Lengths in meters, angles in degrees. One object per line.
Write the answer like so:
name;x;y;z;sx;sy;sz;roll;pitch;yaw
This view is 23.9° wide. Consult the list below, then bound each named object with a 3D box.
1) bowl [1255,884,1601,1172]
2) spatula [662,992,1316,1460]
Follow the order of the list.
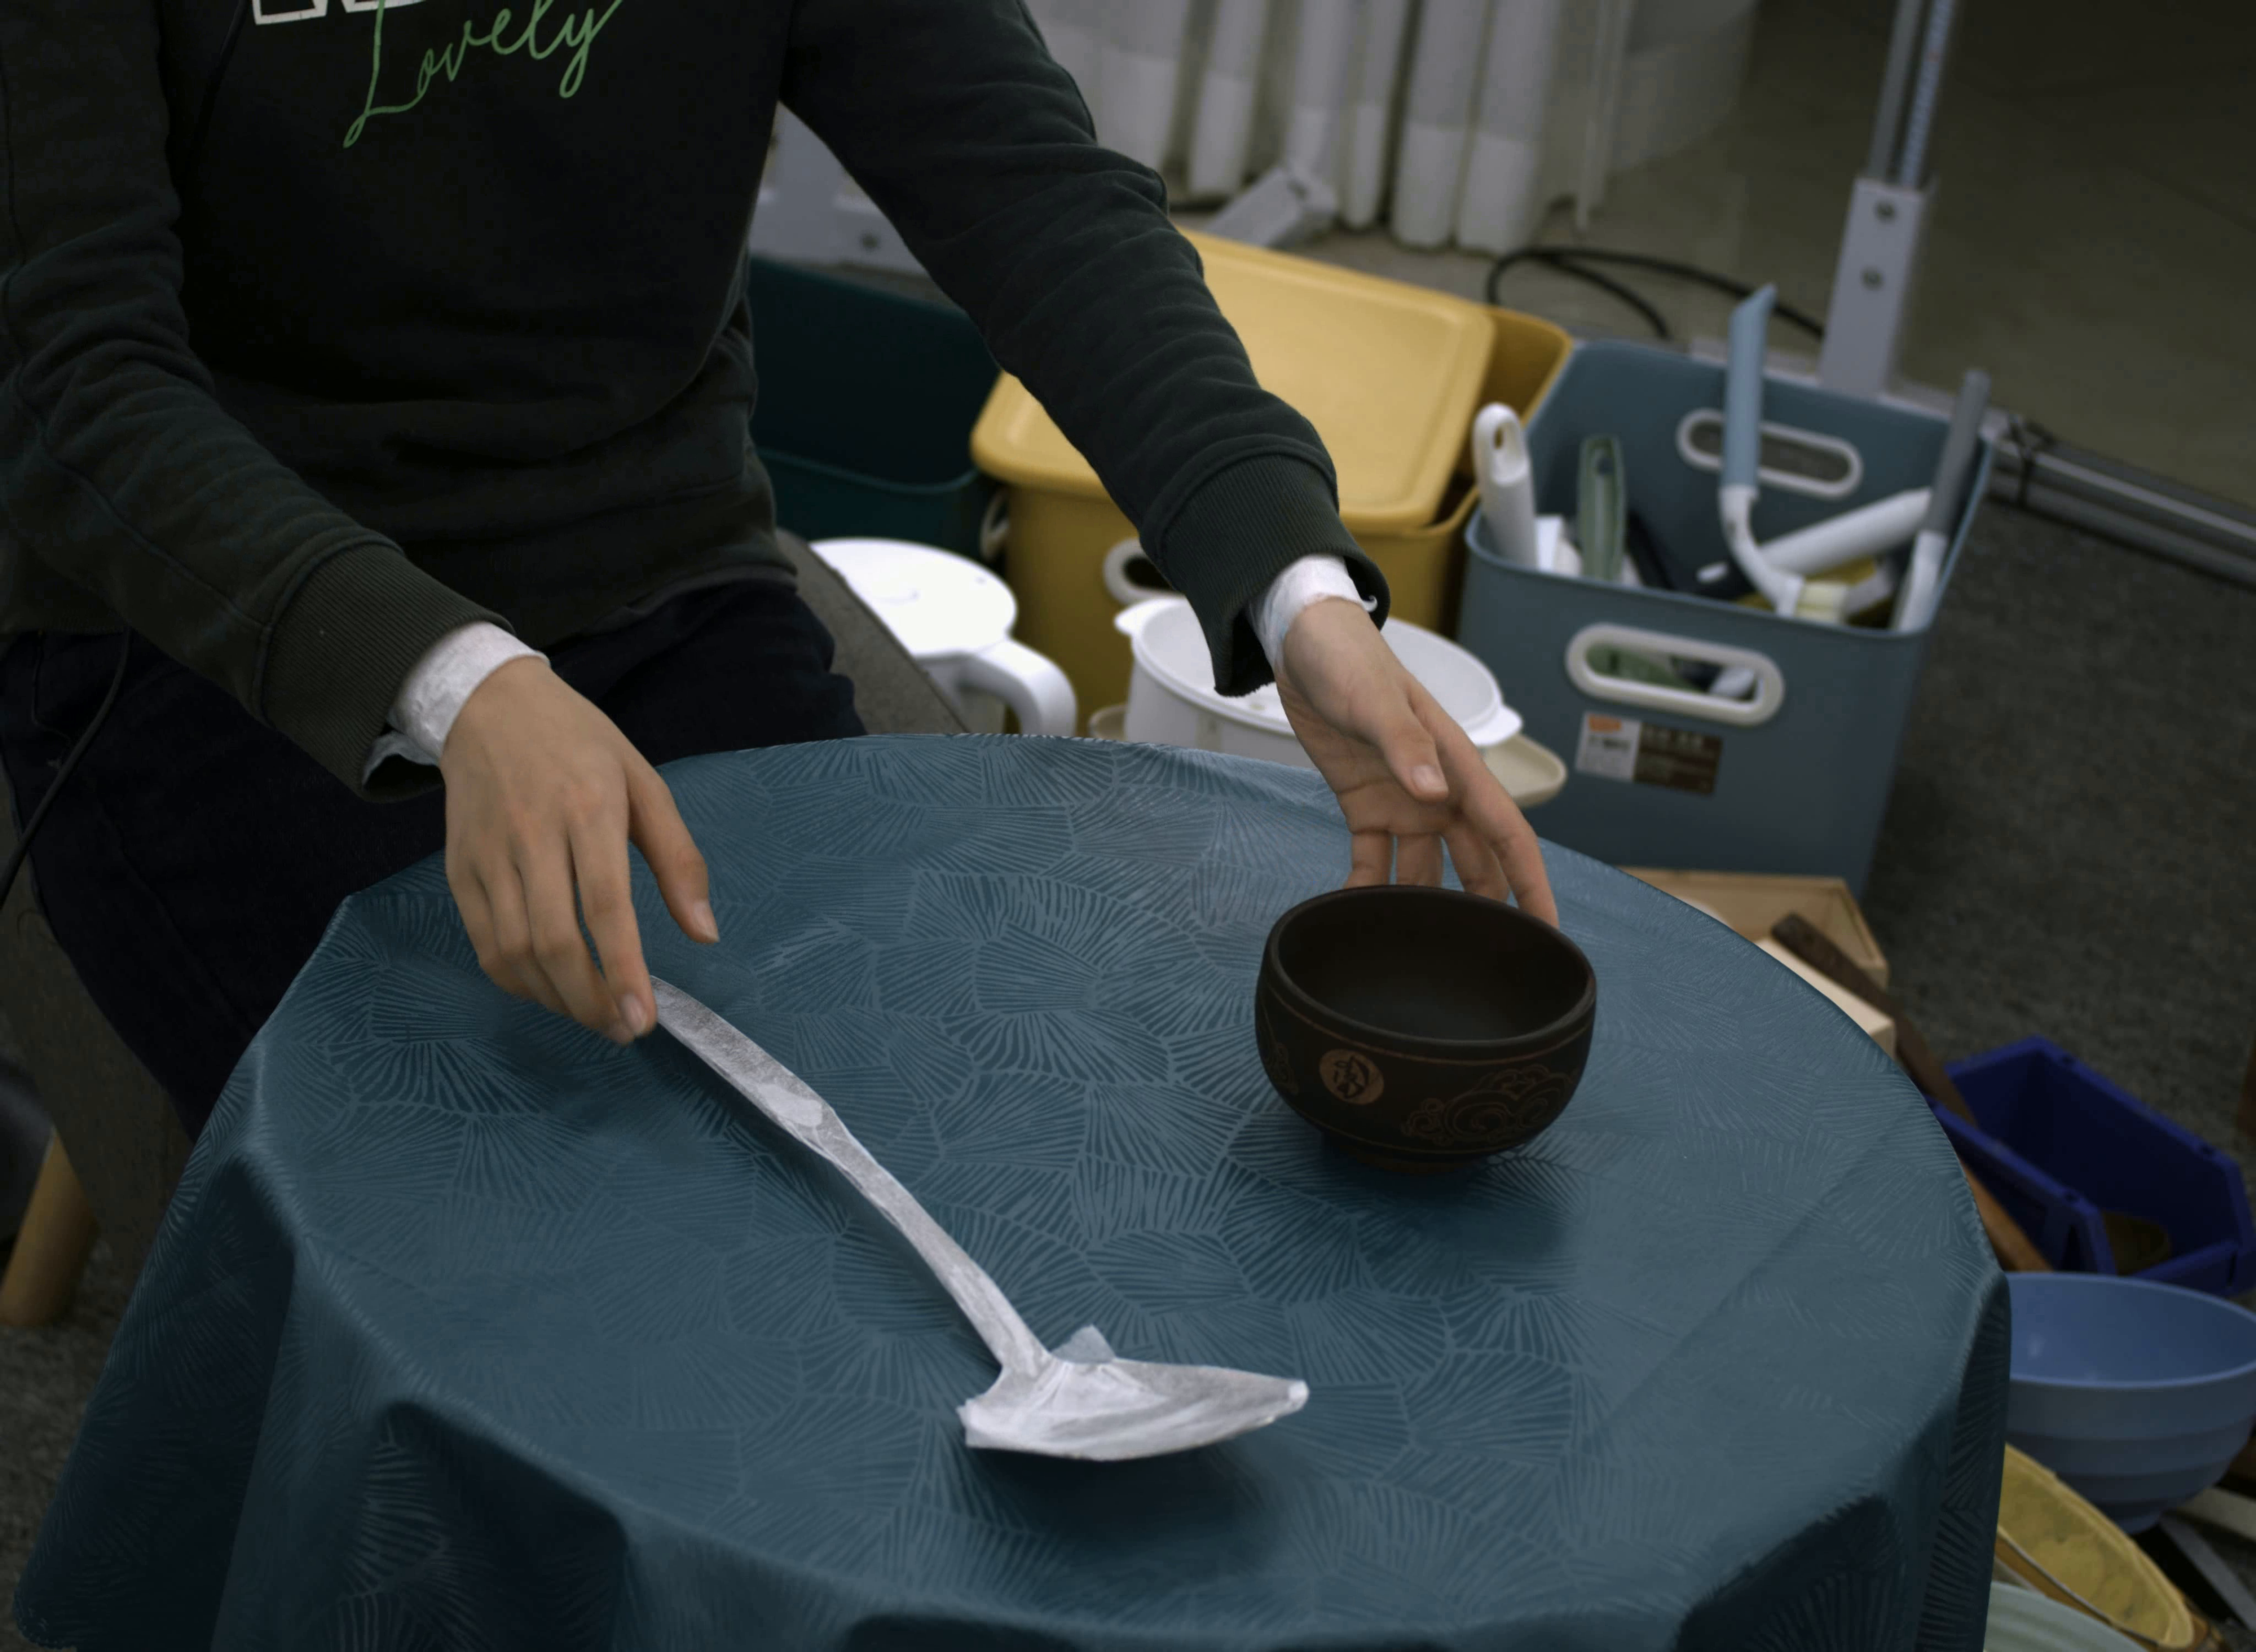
bowl;0.101;0.076;1.839;0.117;0.069;0.119;6;25;-3
spatula;-0.070;0.123;1.744;0.098;0.044;0.368;-12;32;-29
